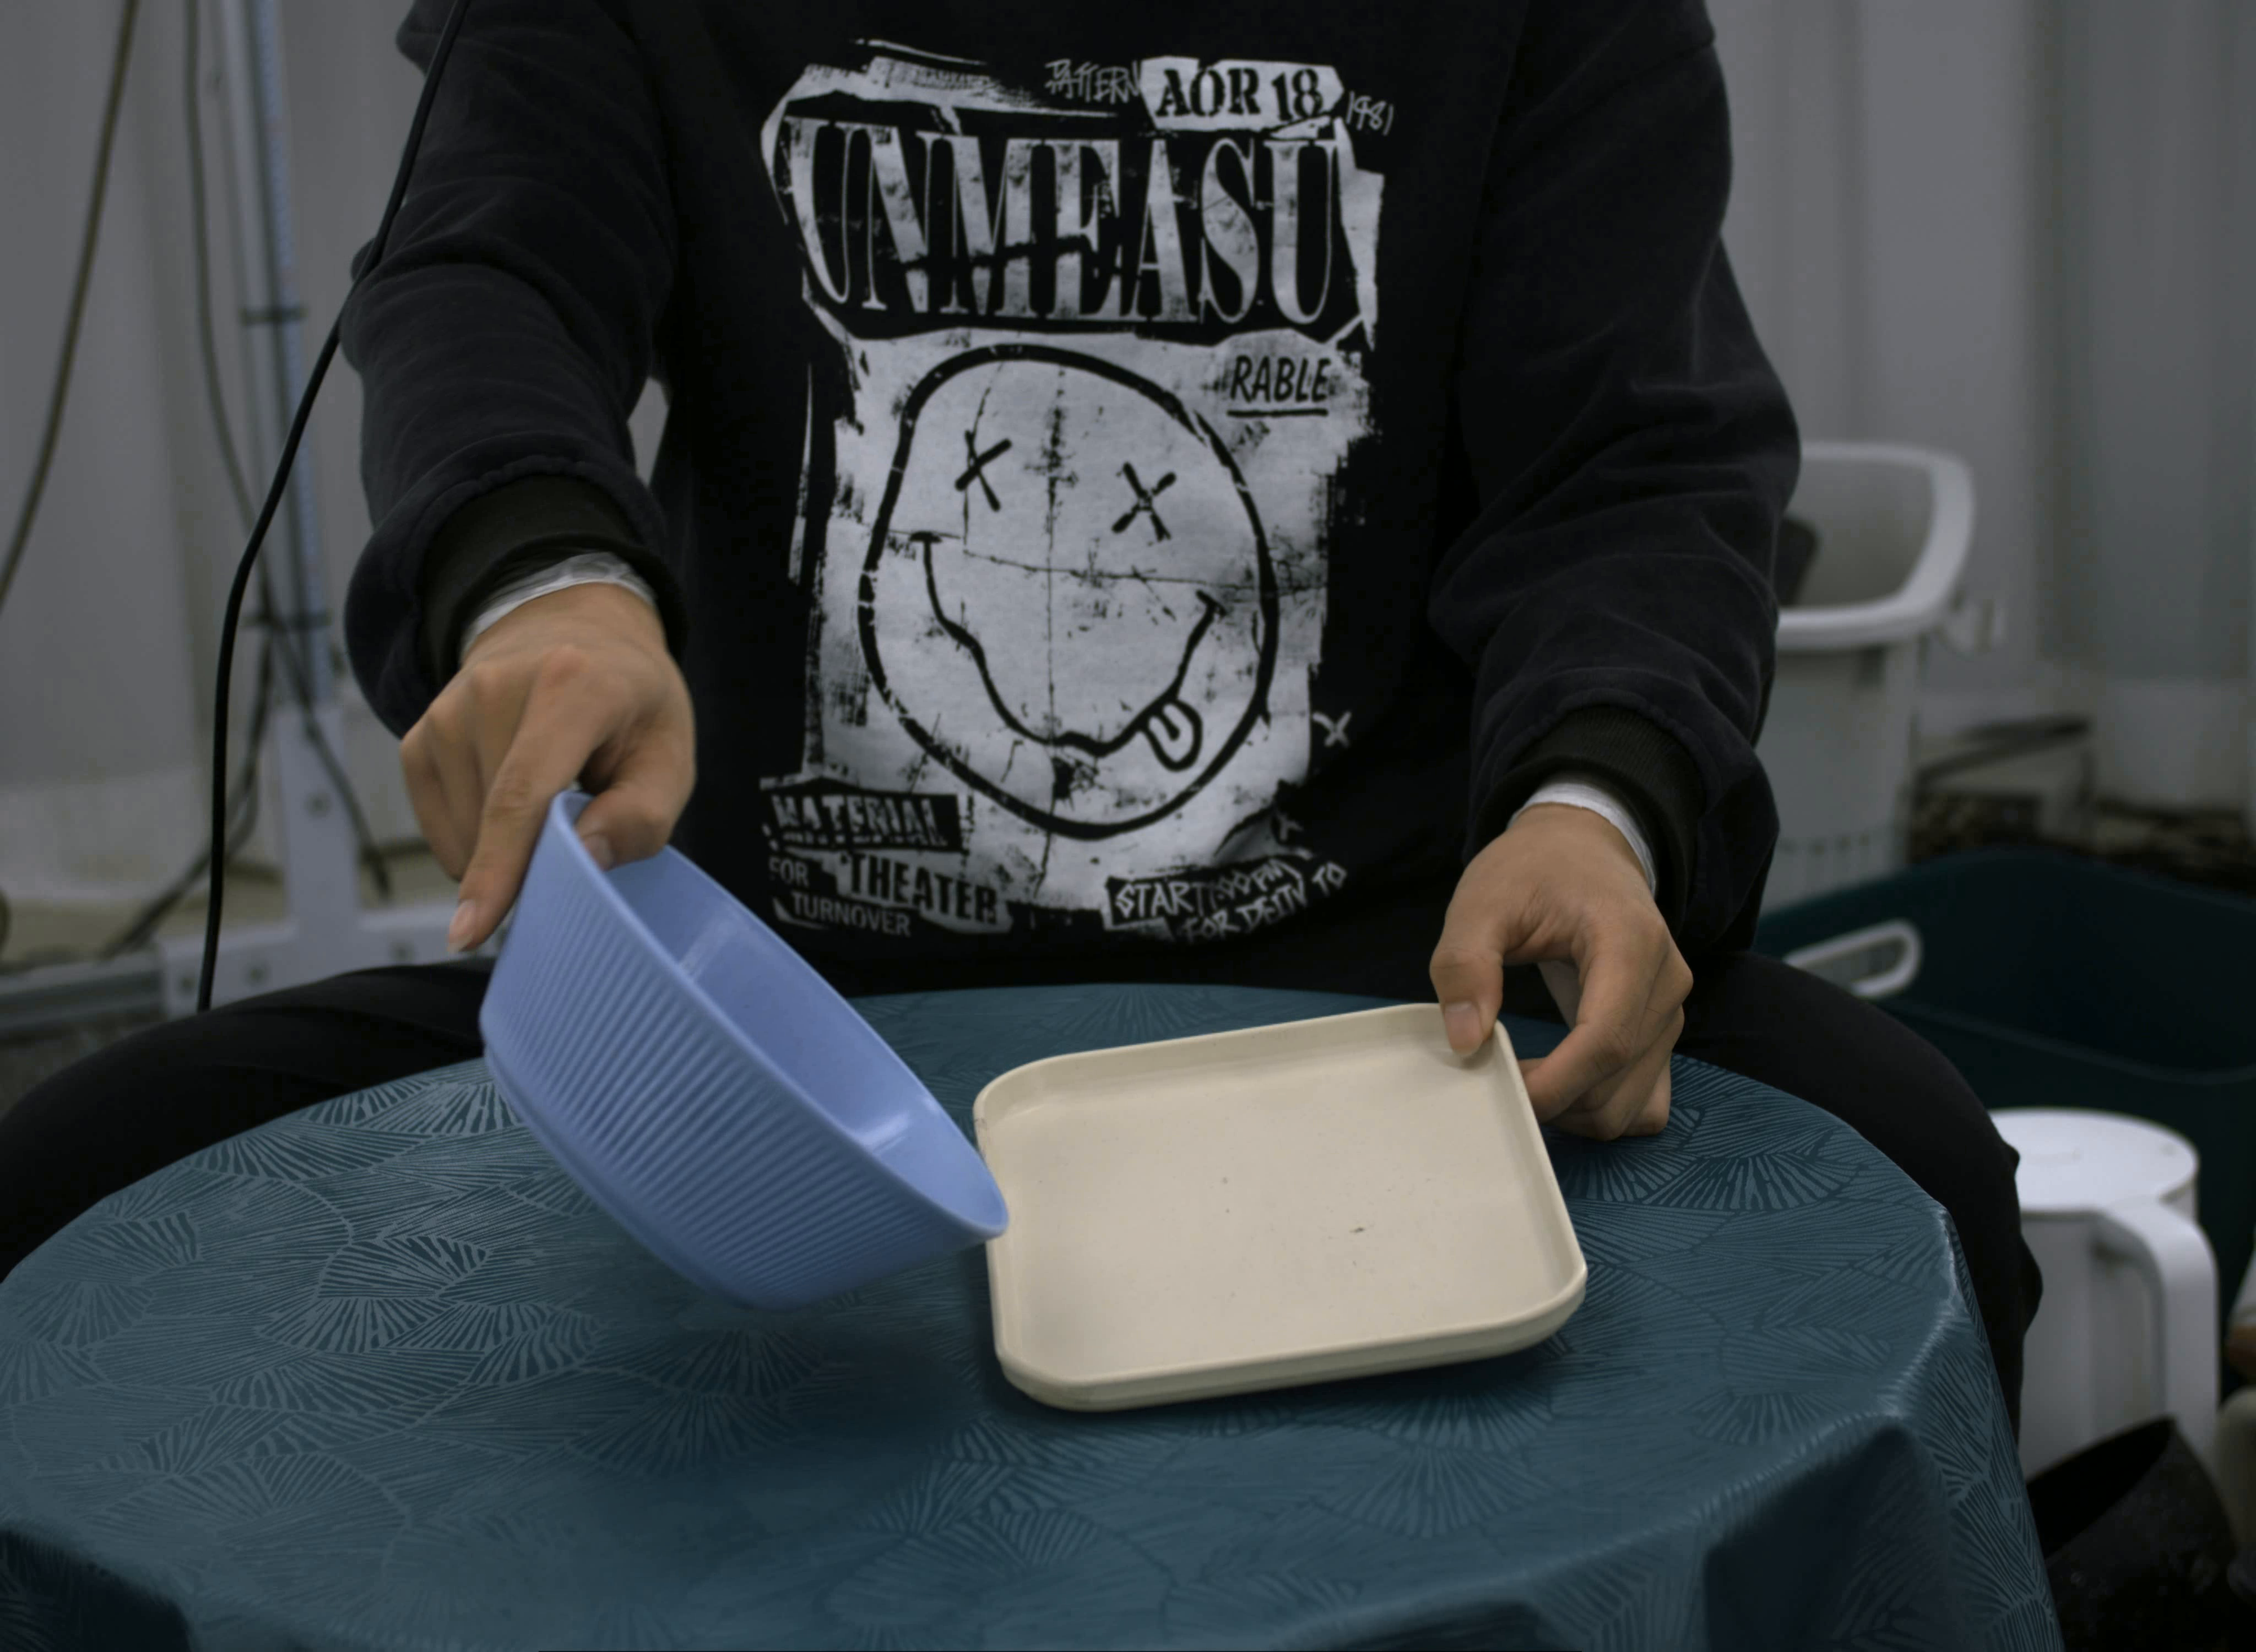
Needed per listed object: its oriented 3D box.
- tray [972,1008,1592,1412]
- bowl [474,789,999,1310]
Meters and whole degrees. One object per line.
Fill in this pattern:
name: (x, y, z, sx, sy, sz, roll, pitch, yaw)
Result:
tray: (0.042, 0.113, 1.629, 0.171, 0.017, 0.242, -7, 20, -1)
bowl: (-0.121, 0.073, 1.541, 0.070, 0.175, 0.177, -46, 16, 5)
